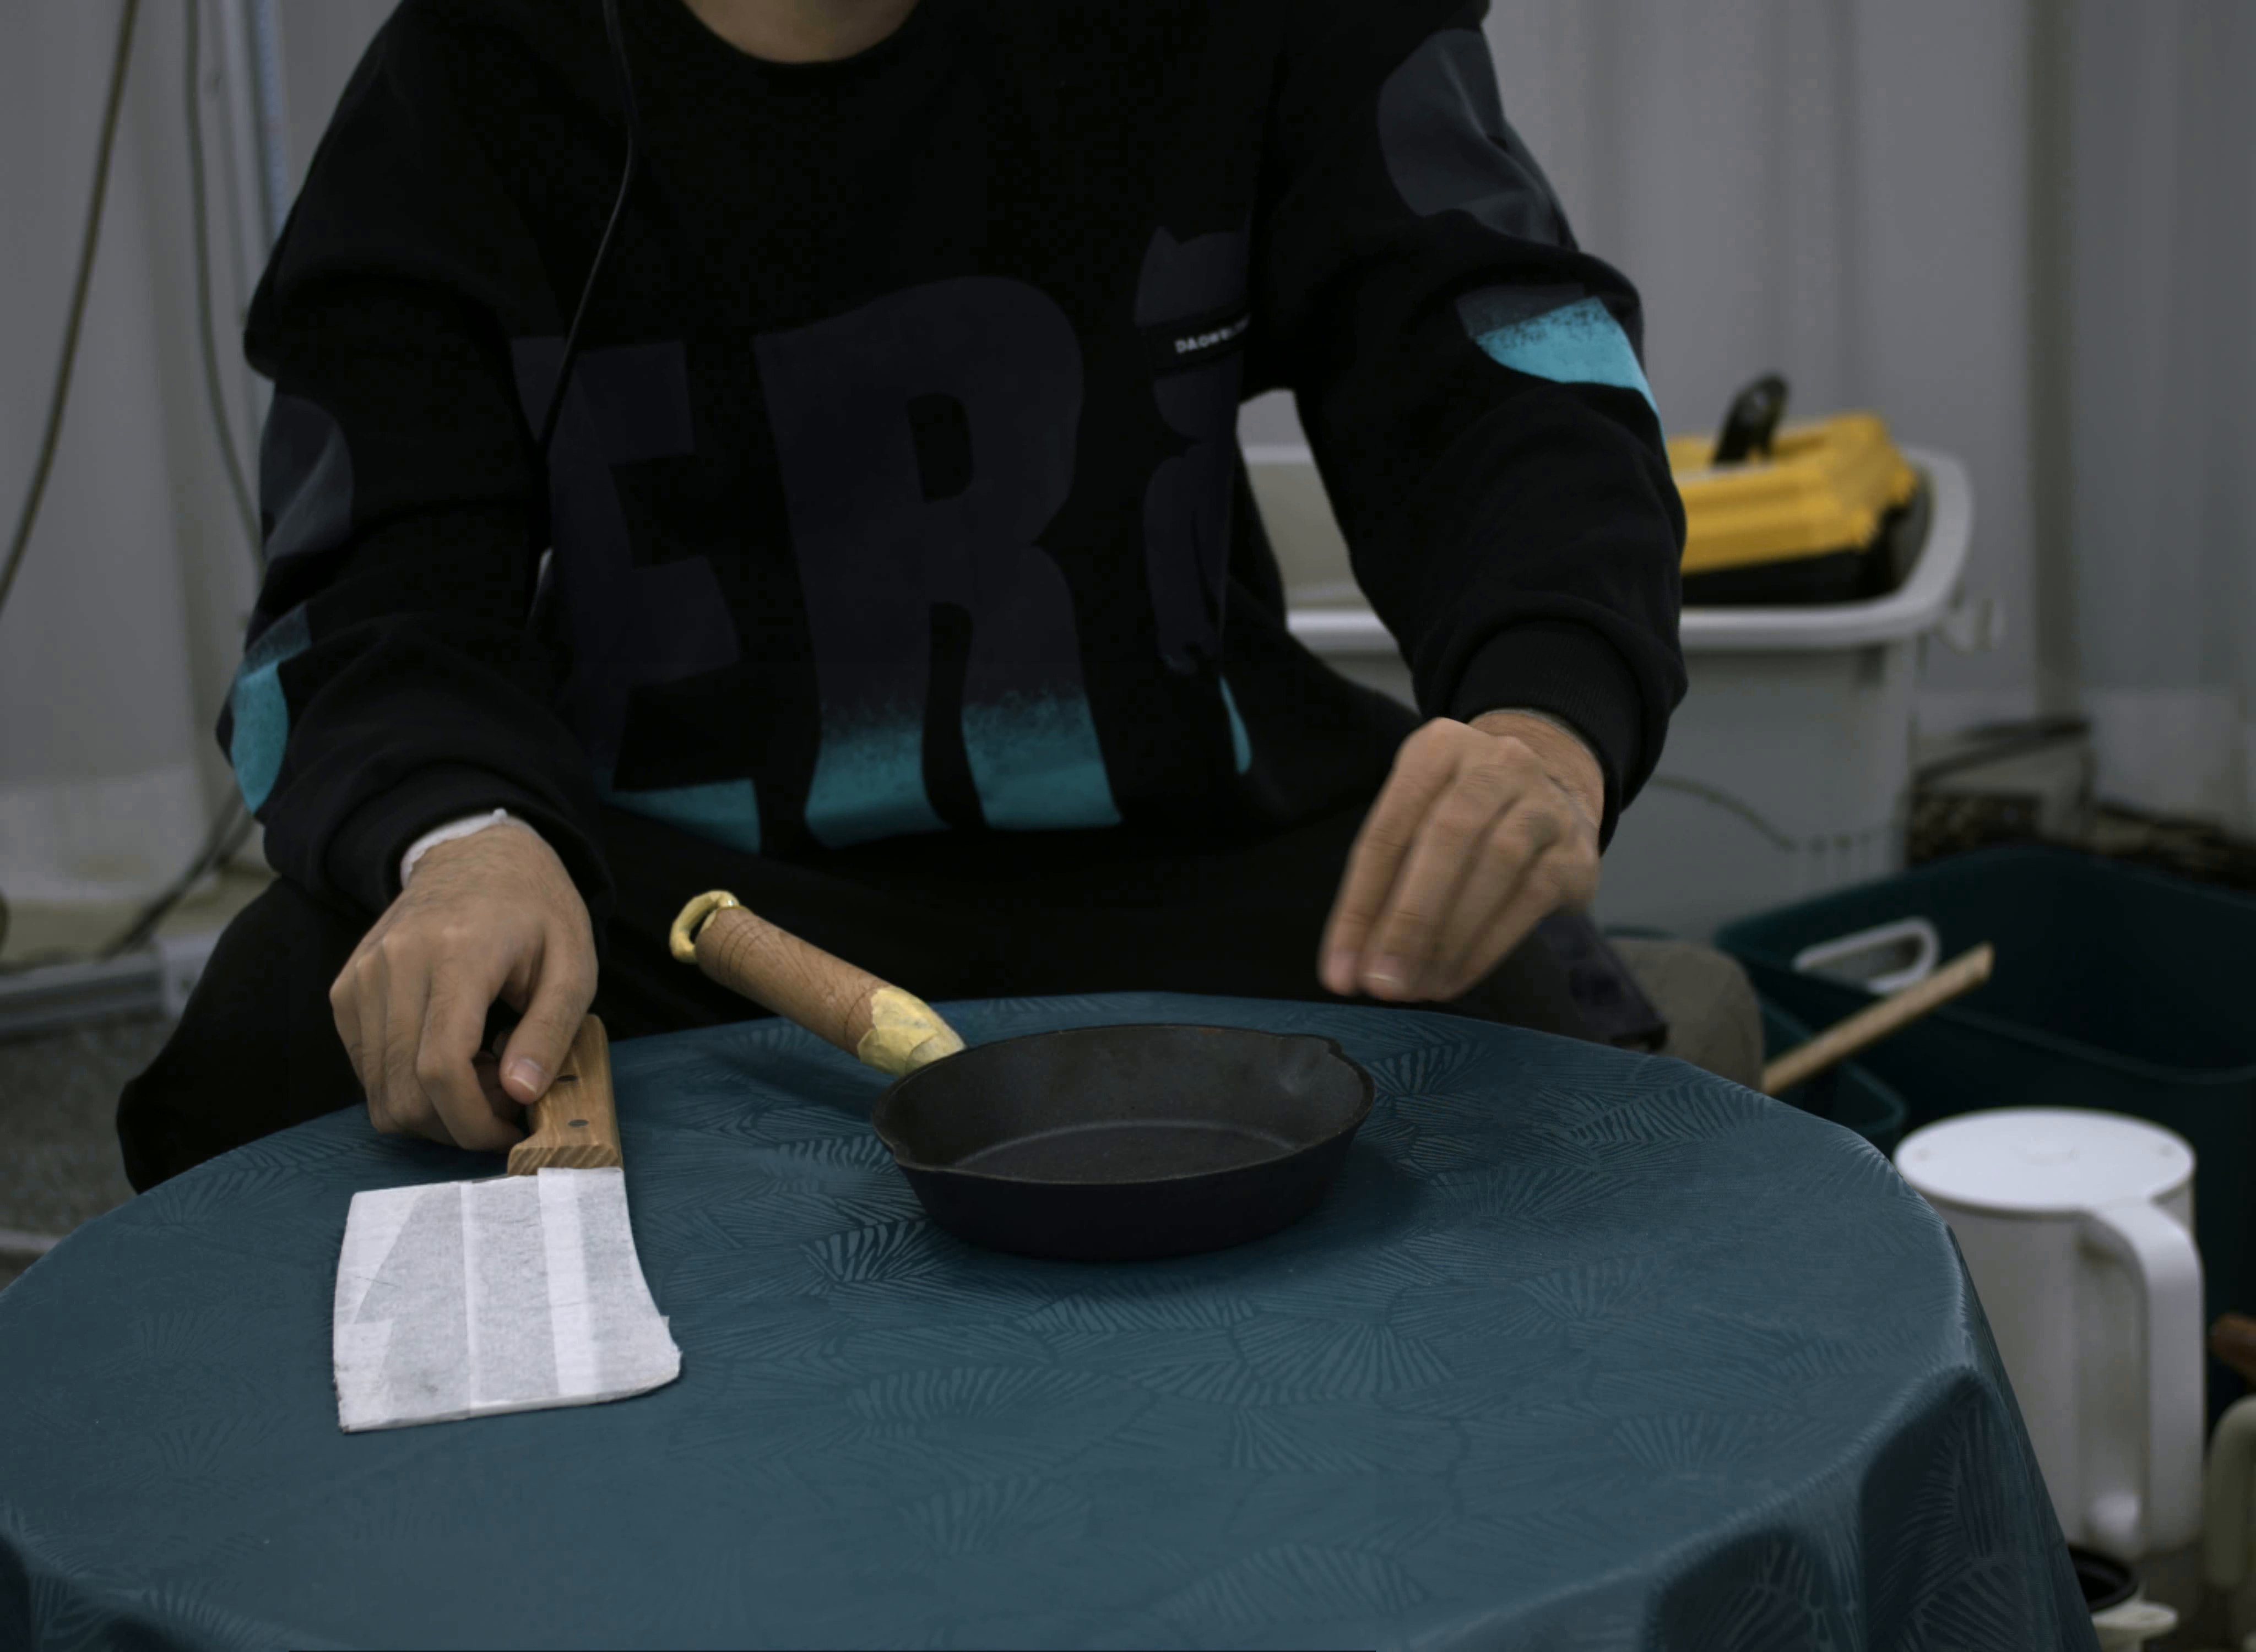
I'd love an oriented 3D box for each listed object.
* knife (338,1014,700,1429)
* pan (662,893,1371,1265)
[{"bbox_3d":[-0.188,0.120,1.697,0.113,0.021,0.318,-4,18,-3],"label":"knife"},{"bbox_3d":[-0.053,0.077,1.769,0.168,0.049,0.326,-14,20,-35],"label":"pan"}]
